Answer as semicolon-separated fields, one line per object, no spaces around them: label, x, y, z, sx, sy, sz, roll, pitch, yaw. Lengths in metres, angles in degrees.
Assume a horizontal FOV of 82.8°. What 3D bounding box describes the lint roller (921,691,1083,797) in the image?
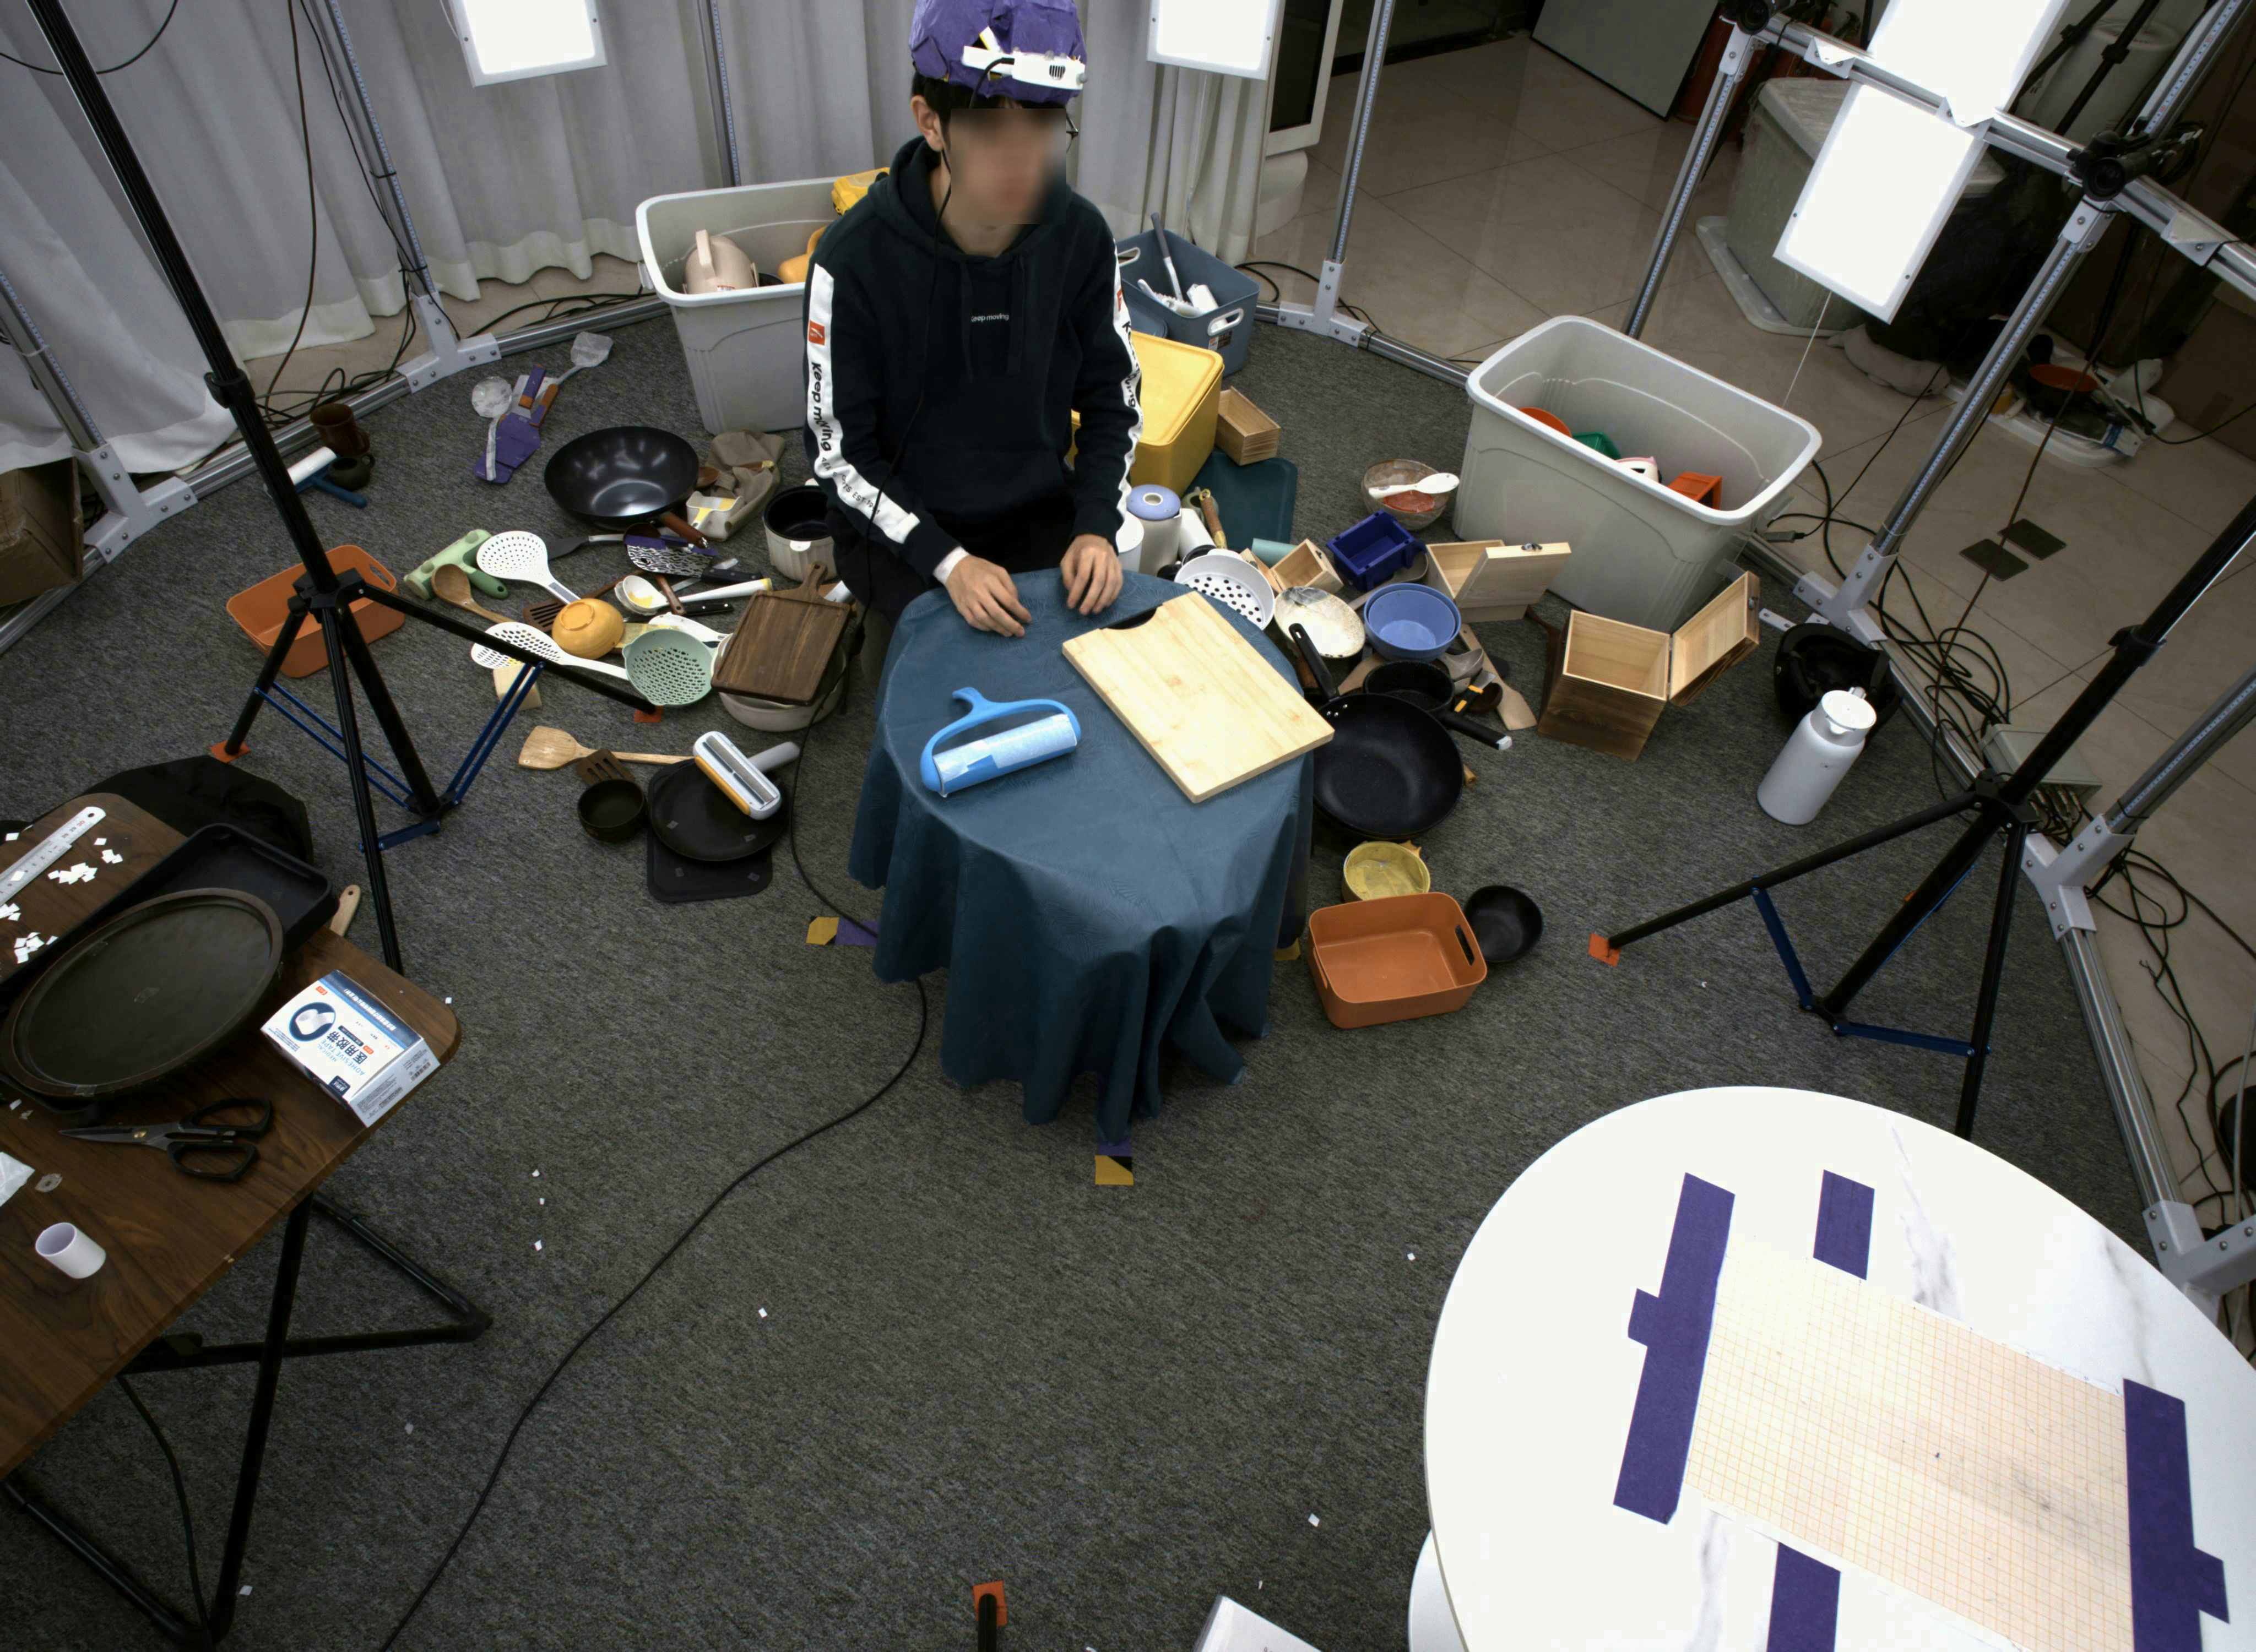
lint roller;-0.194;-0.137;1.737;0.229;0.066;0.184;-23;55;-20

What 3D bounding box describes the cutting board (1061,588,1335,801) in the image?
cutting board;0.094;-0.197;1.834;0.252;0.023;0.355;-25;55;-23
